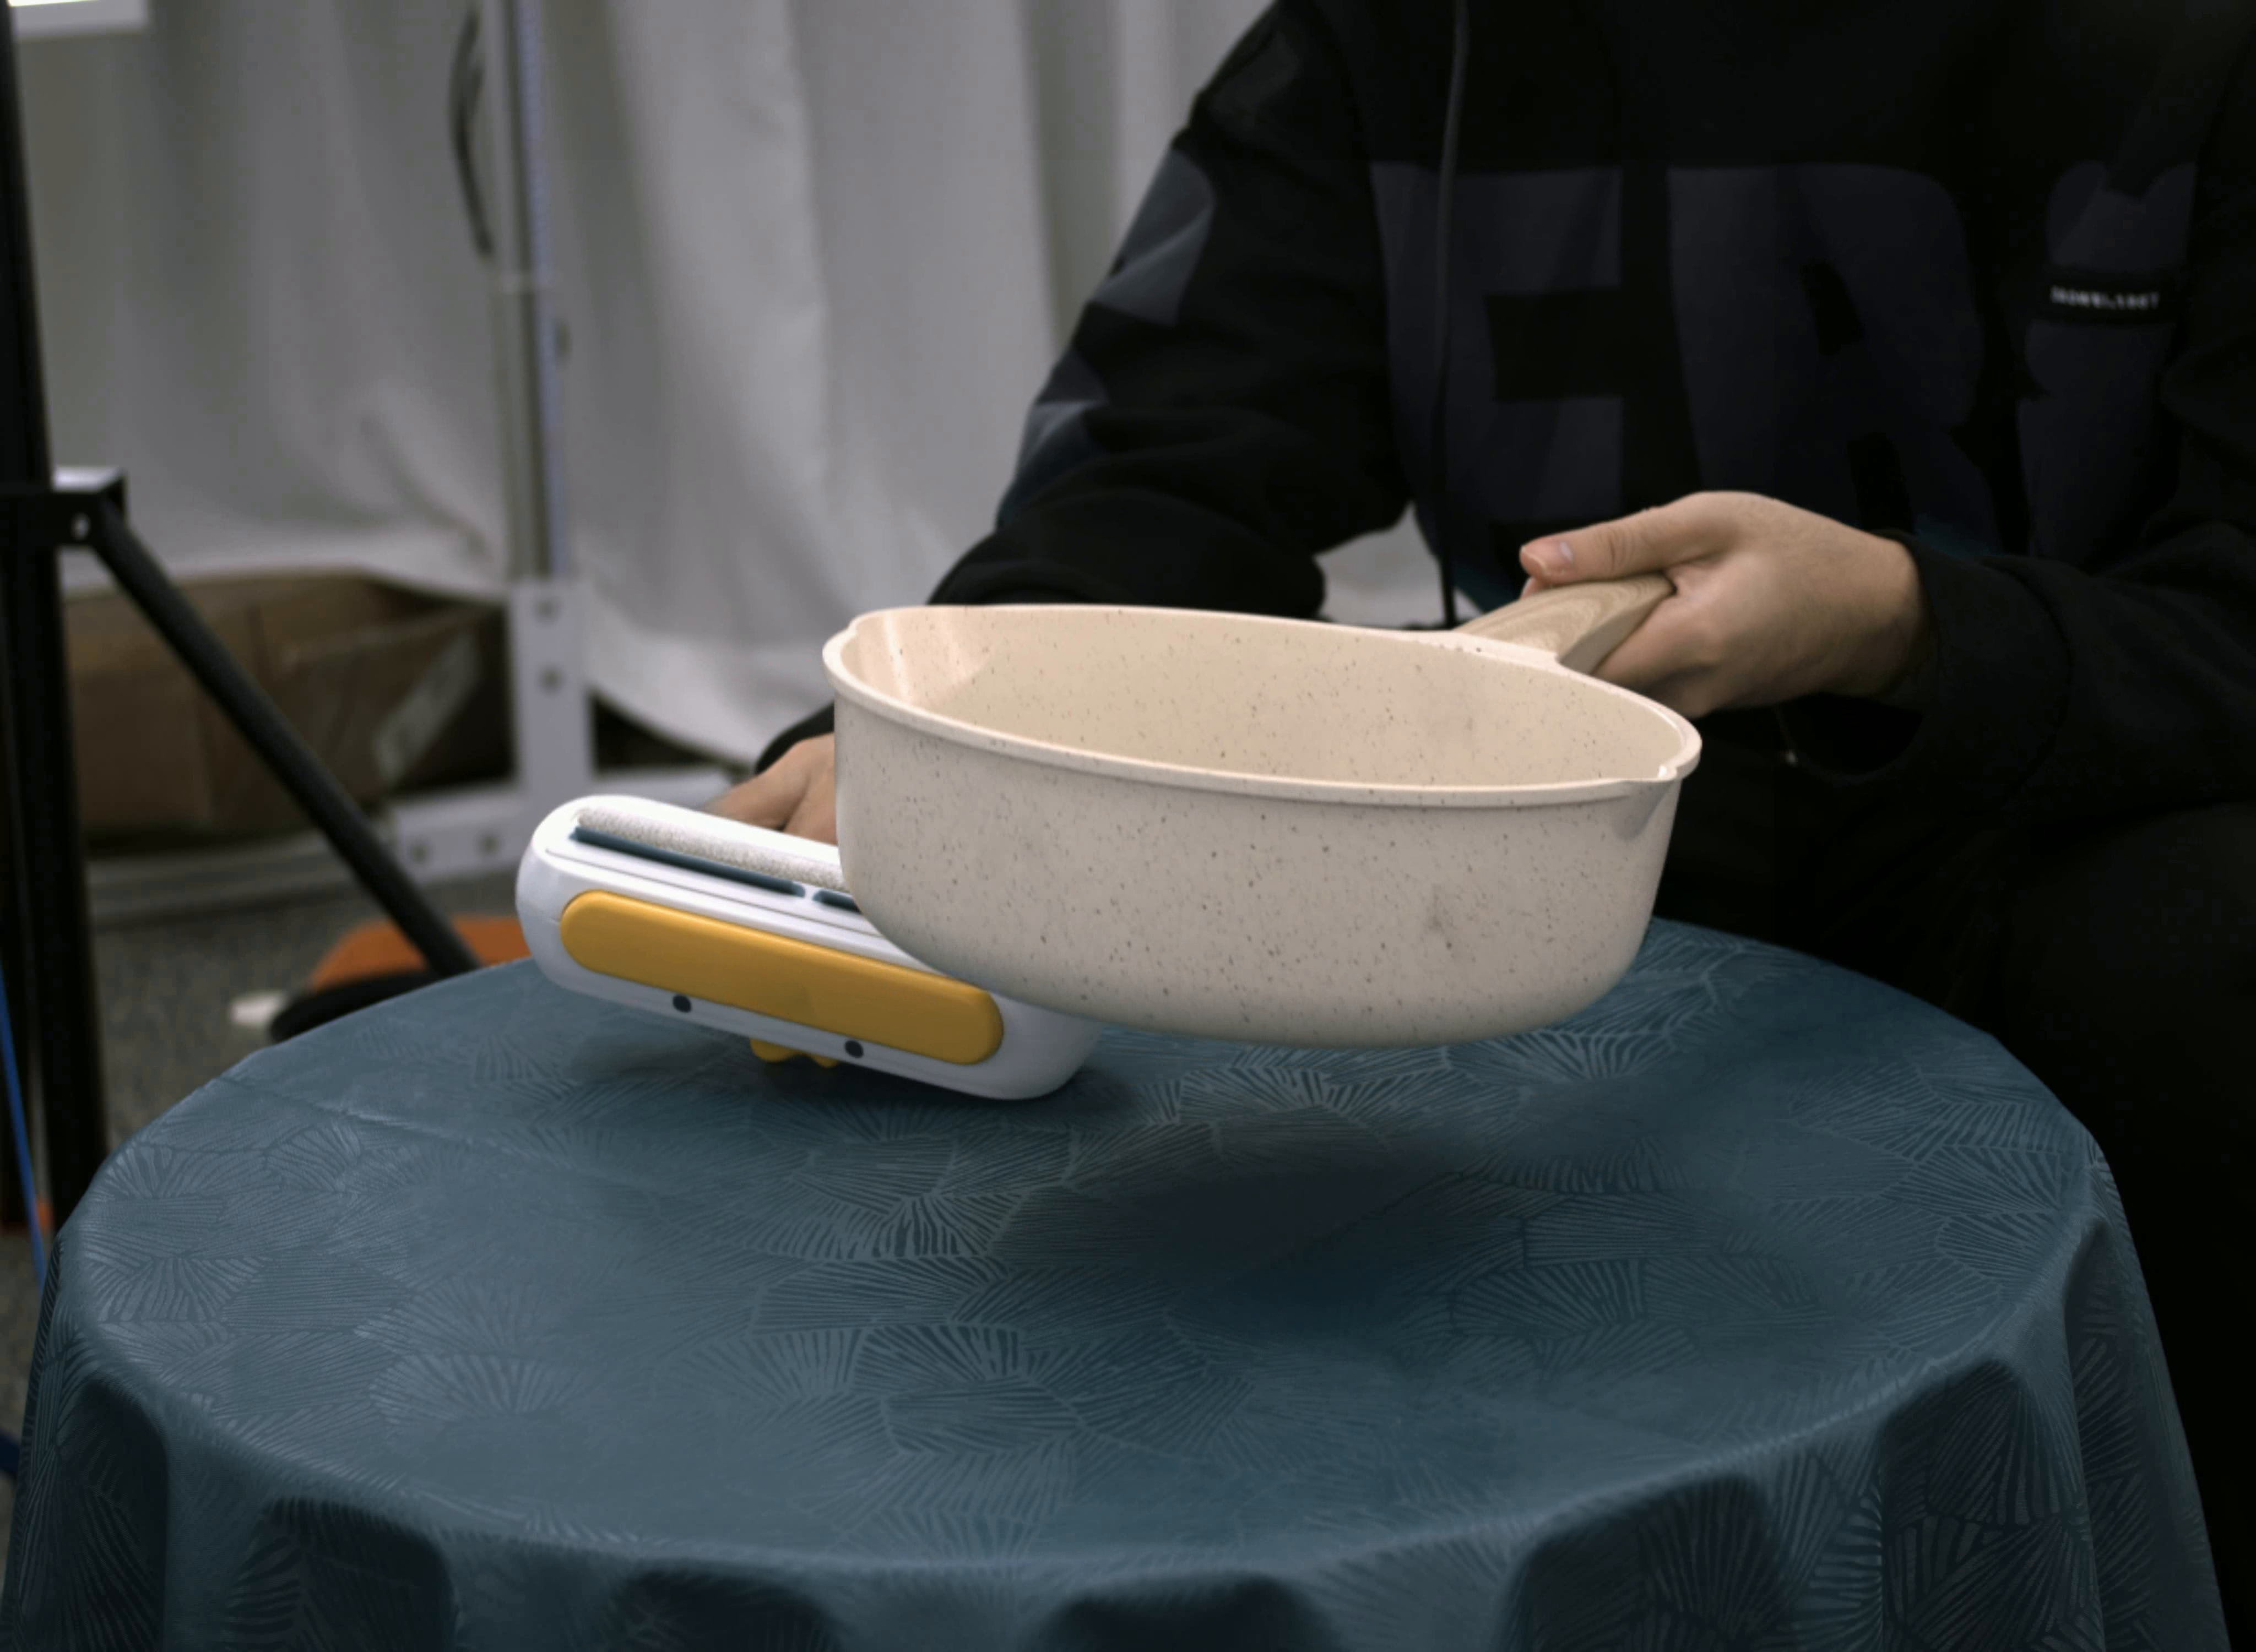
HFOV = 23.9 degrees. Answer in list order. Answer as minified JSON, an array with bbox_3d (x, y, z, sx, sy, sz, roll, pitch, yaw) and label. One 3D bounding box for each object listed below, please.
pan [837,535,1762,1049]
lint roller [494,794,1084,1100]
[{"bbox_3d":[0.088,-0.017,1.586,0.268,0.102,0.425,10,13,31],"label":"pan"},{"bbox_3d":[-0.087,0.030,1.726,0.195,0.074,0.190,10,16,19],"label":"lint roller"}]
